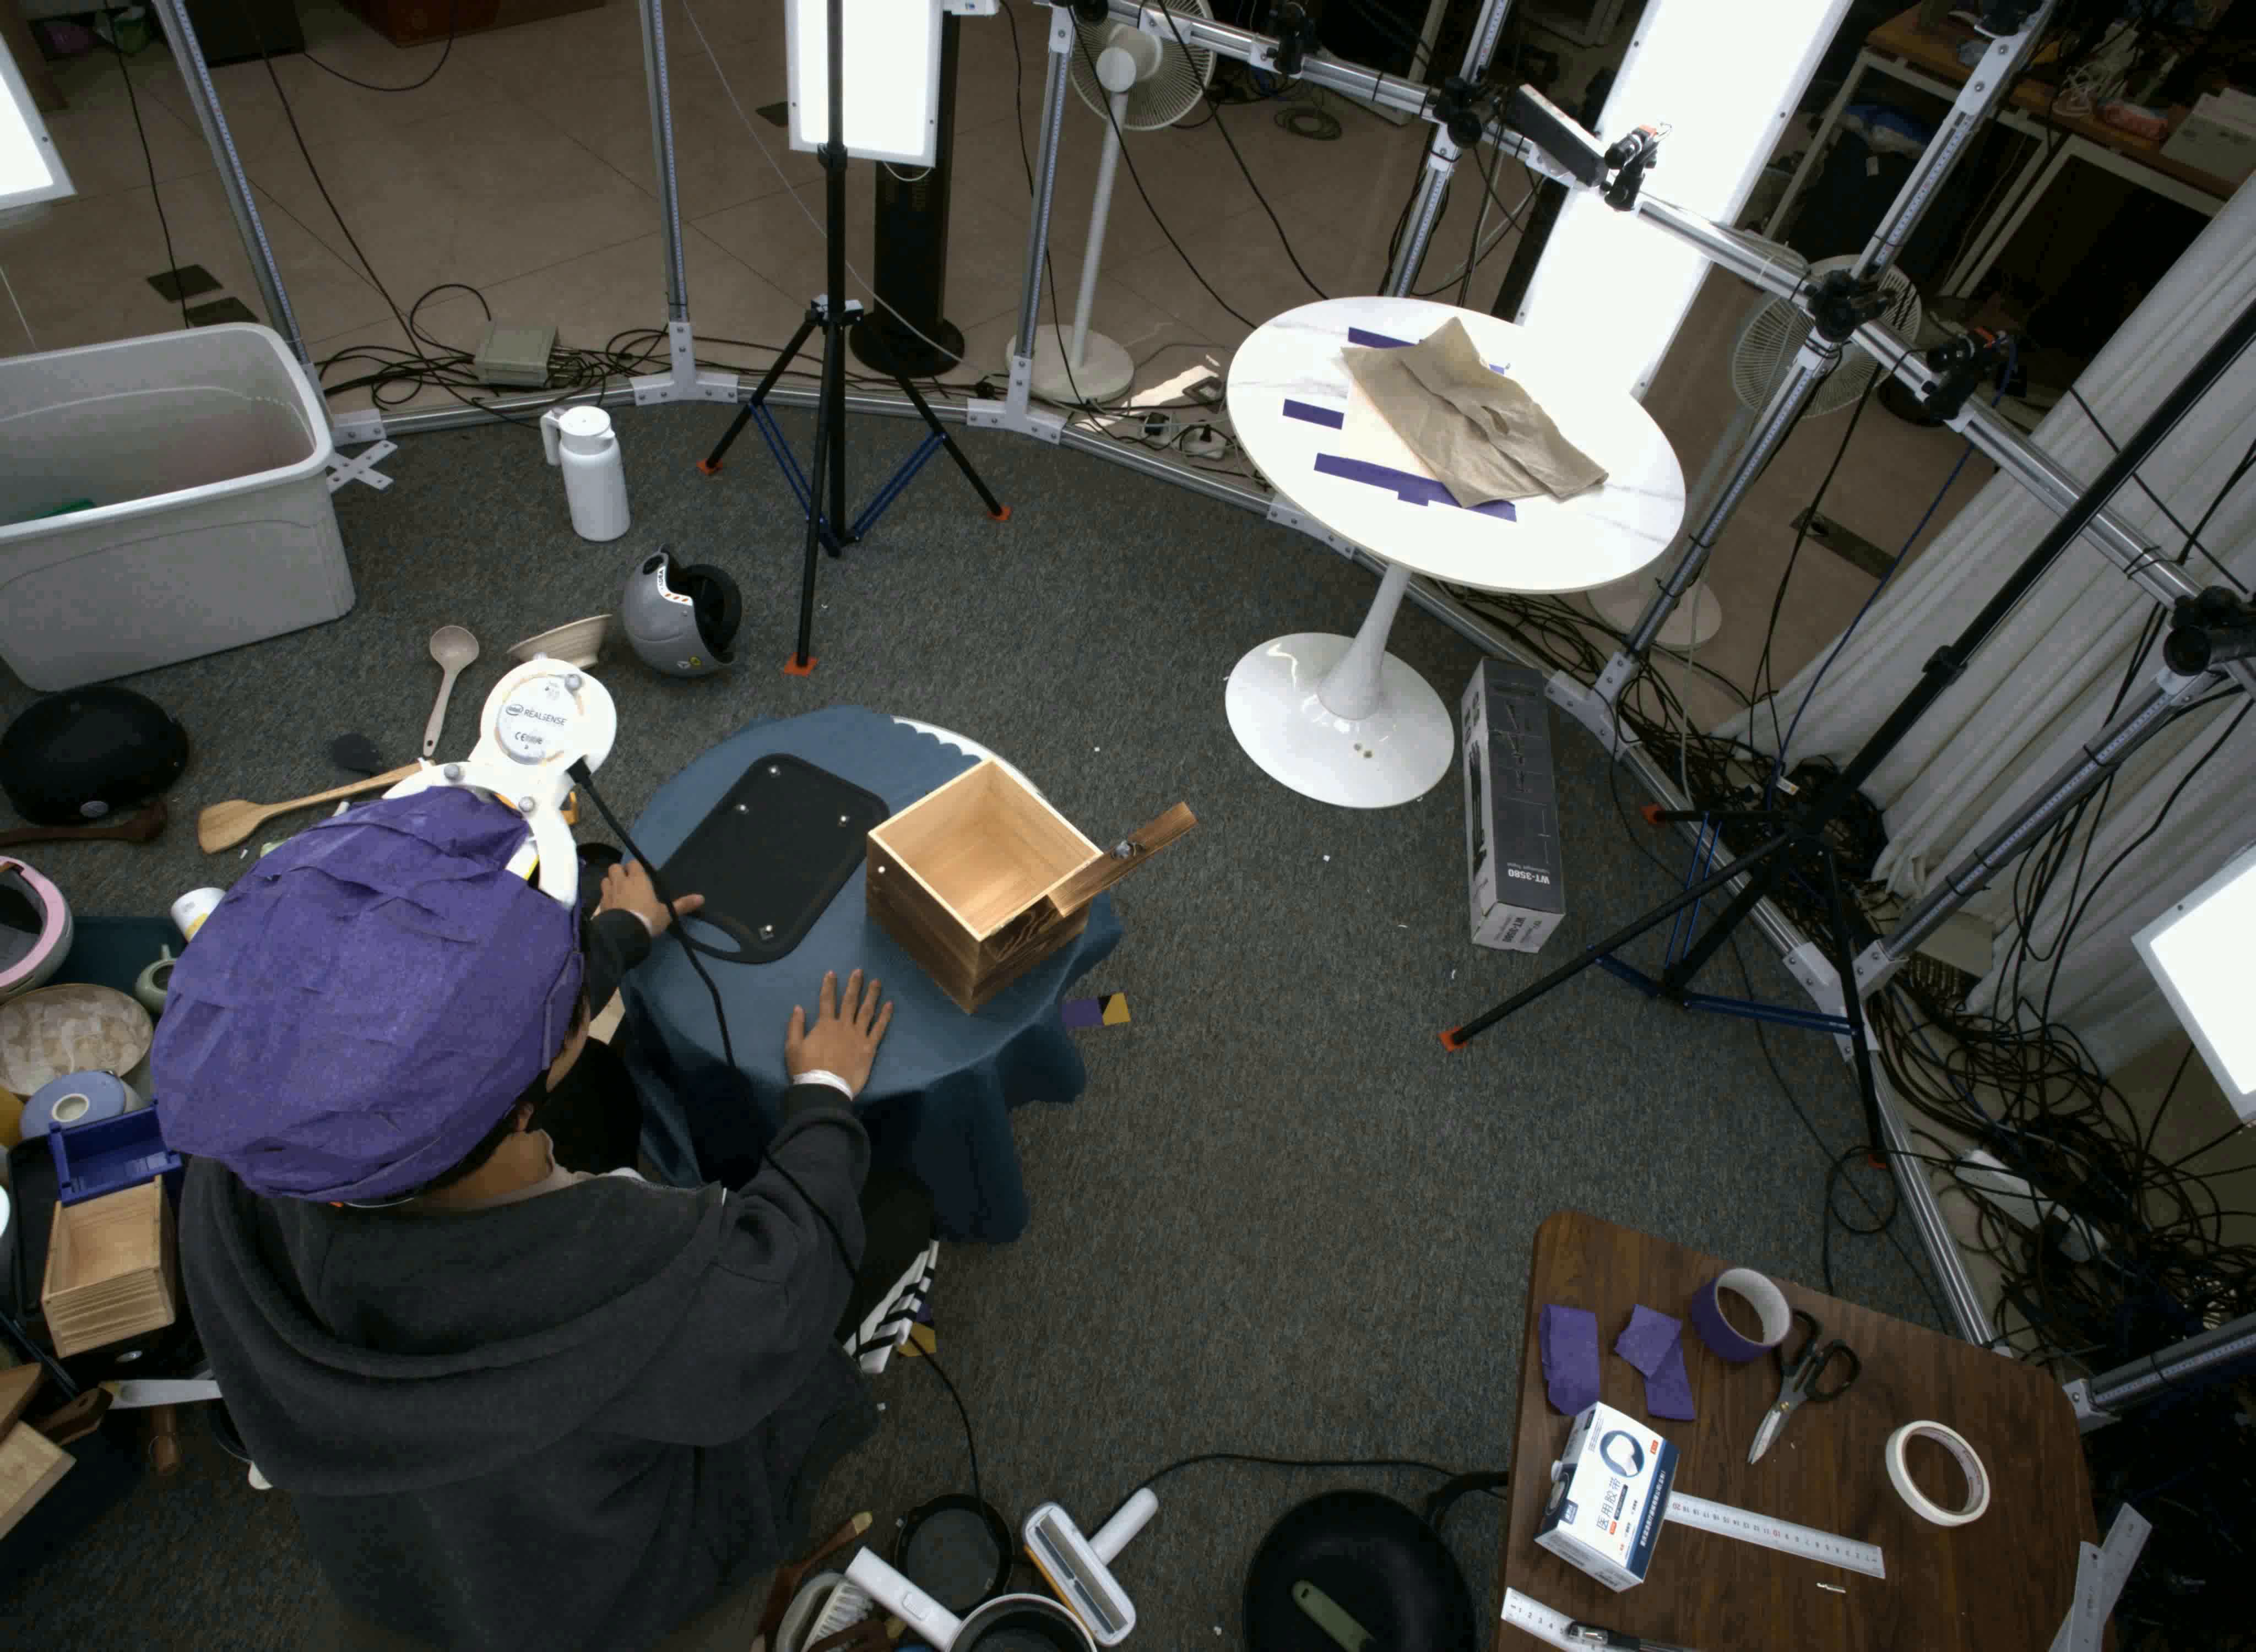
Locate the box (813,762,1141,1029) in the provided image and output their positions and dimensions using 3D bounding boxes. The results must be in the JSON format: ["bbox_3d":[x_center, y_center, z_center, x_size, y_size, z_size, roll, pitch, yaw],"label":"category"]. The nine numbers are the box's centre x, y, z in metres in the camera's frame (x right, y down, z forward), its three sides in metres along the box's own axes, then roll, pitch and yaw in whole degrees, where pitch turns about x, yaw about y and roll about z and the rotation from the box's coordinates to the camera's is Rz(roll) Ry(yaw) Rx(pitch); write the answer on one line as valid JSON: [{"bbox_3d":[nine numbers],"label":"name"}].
[{"bbox_3d":[-0.187,0.051,1.521,0.315,0.383,0.209,38,54,15],"label":"box"}]

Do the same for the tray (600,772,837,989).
[{"bbox_3d":[-0.525,0.064,1.651,0.208,0.010,0.323,23,52,3],"label":"tray"}]
